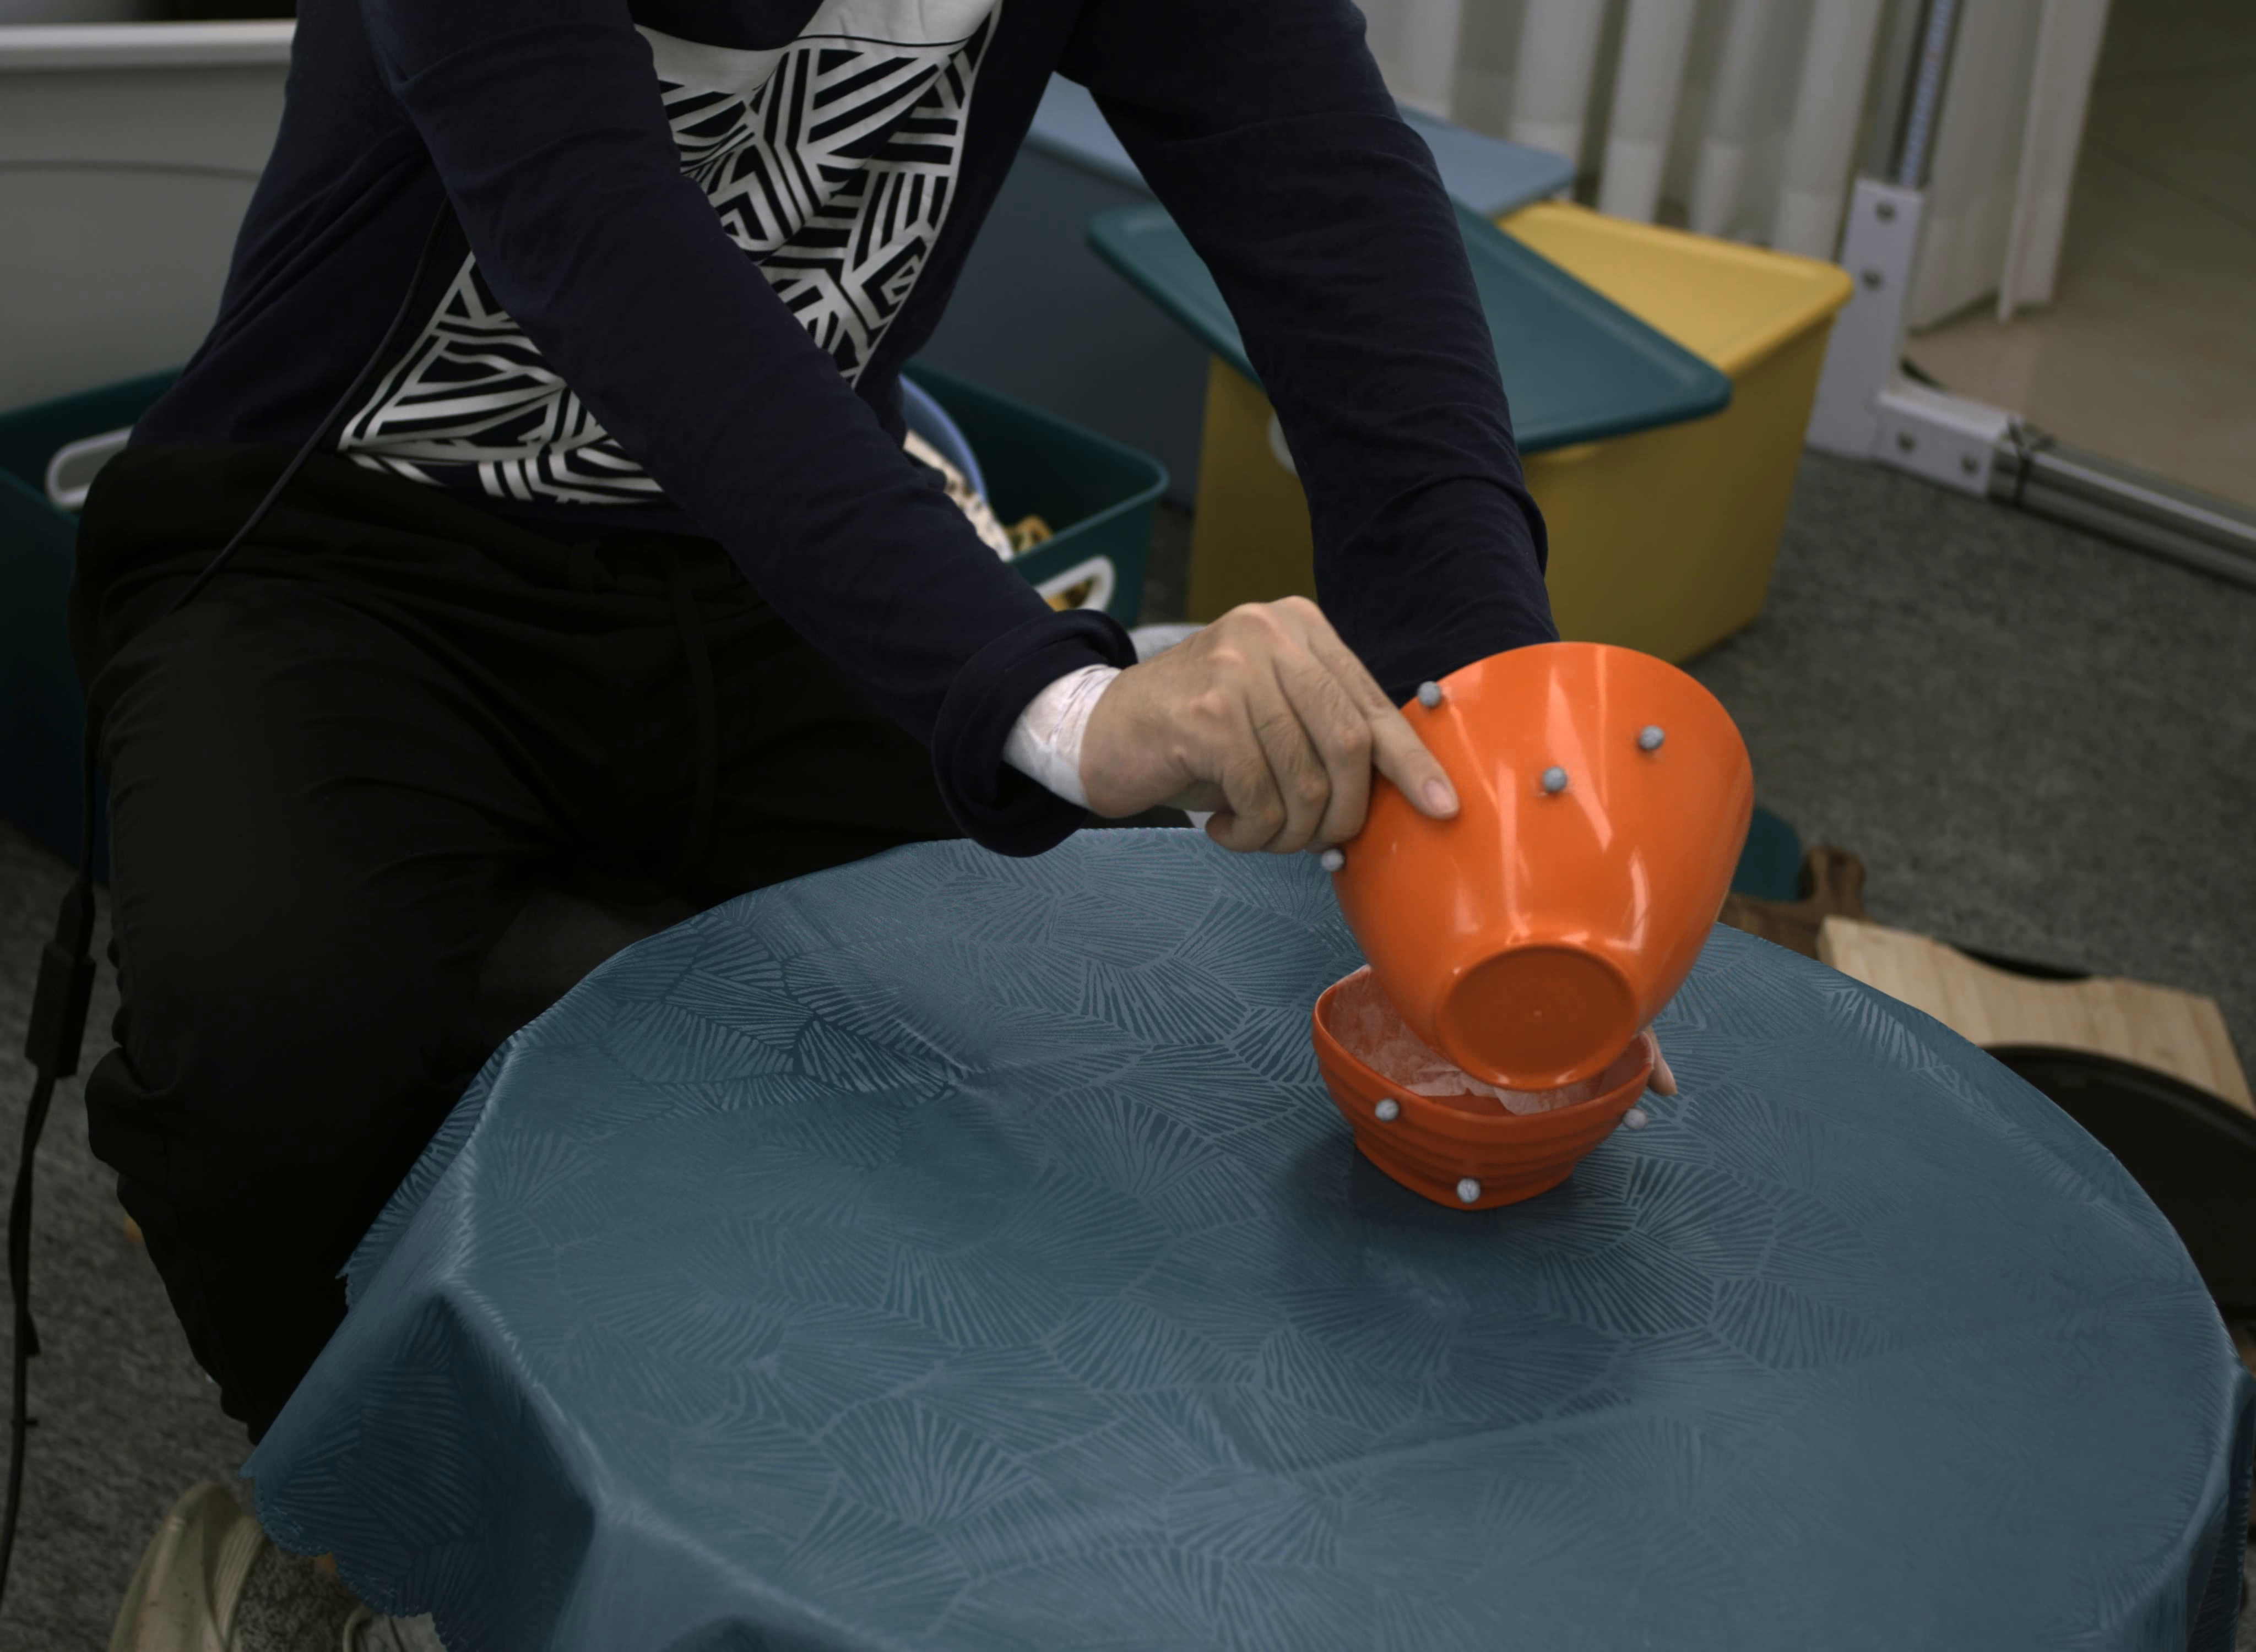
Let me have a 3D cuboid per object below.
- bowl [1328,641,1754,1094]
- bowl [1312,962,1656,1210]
[{"bbox_3d":[0.142,0.026,1.779,0.147,0.147,0.105,4,39,-6],"label":"bowl"},{"bbox_3d":[0.120,0.091,1.839,0.118,0.051,0.119,4,29,-3],"label":"bowl"}]
